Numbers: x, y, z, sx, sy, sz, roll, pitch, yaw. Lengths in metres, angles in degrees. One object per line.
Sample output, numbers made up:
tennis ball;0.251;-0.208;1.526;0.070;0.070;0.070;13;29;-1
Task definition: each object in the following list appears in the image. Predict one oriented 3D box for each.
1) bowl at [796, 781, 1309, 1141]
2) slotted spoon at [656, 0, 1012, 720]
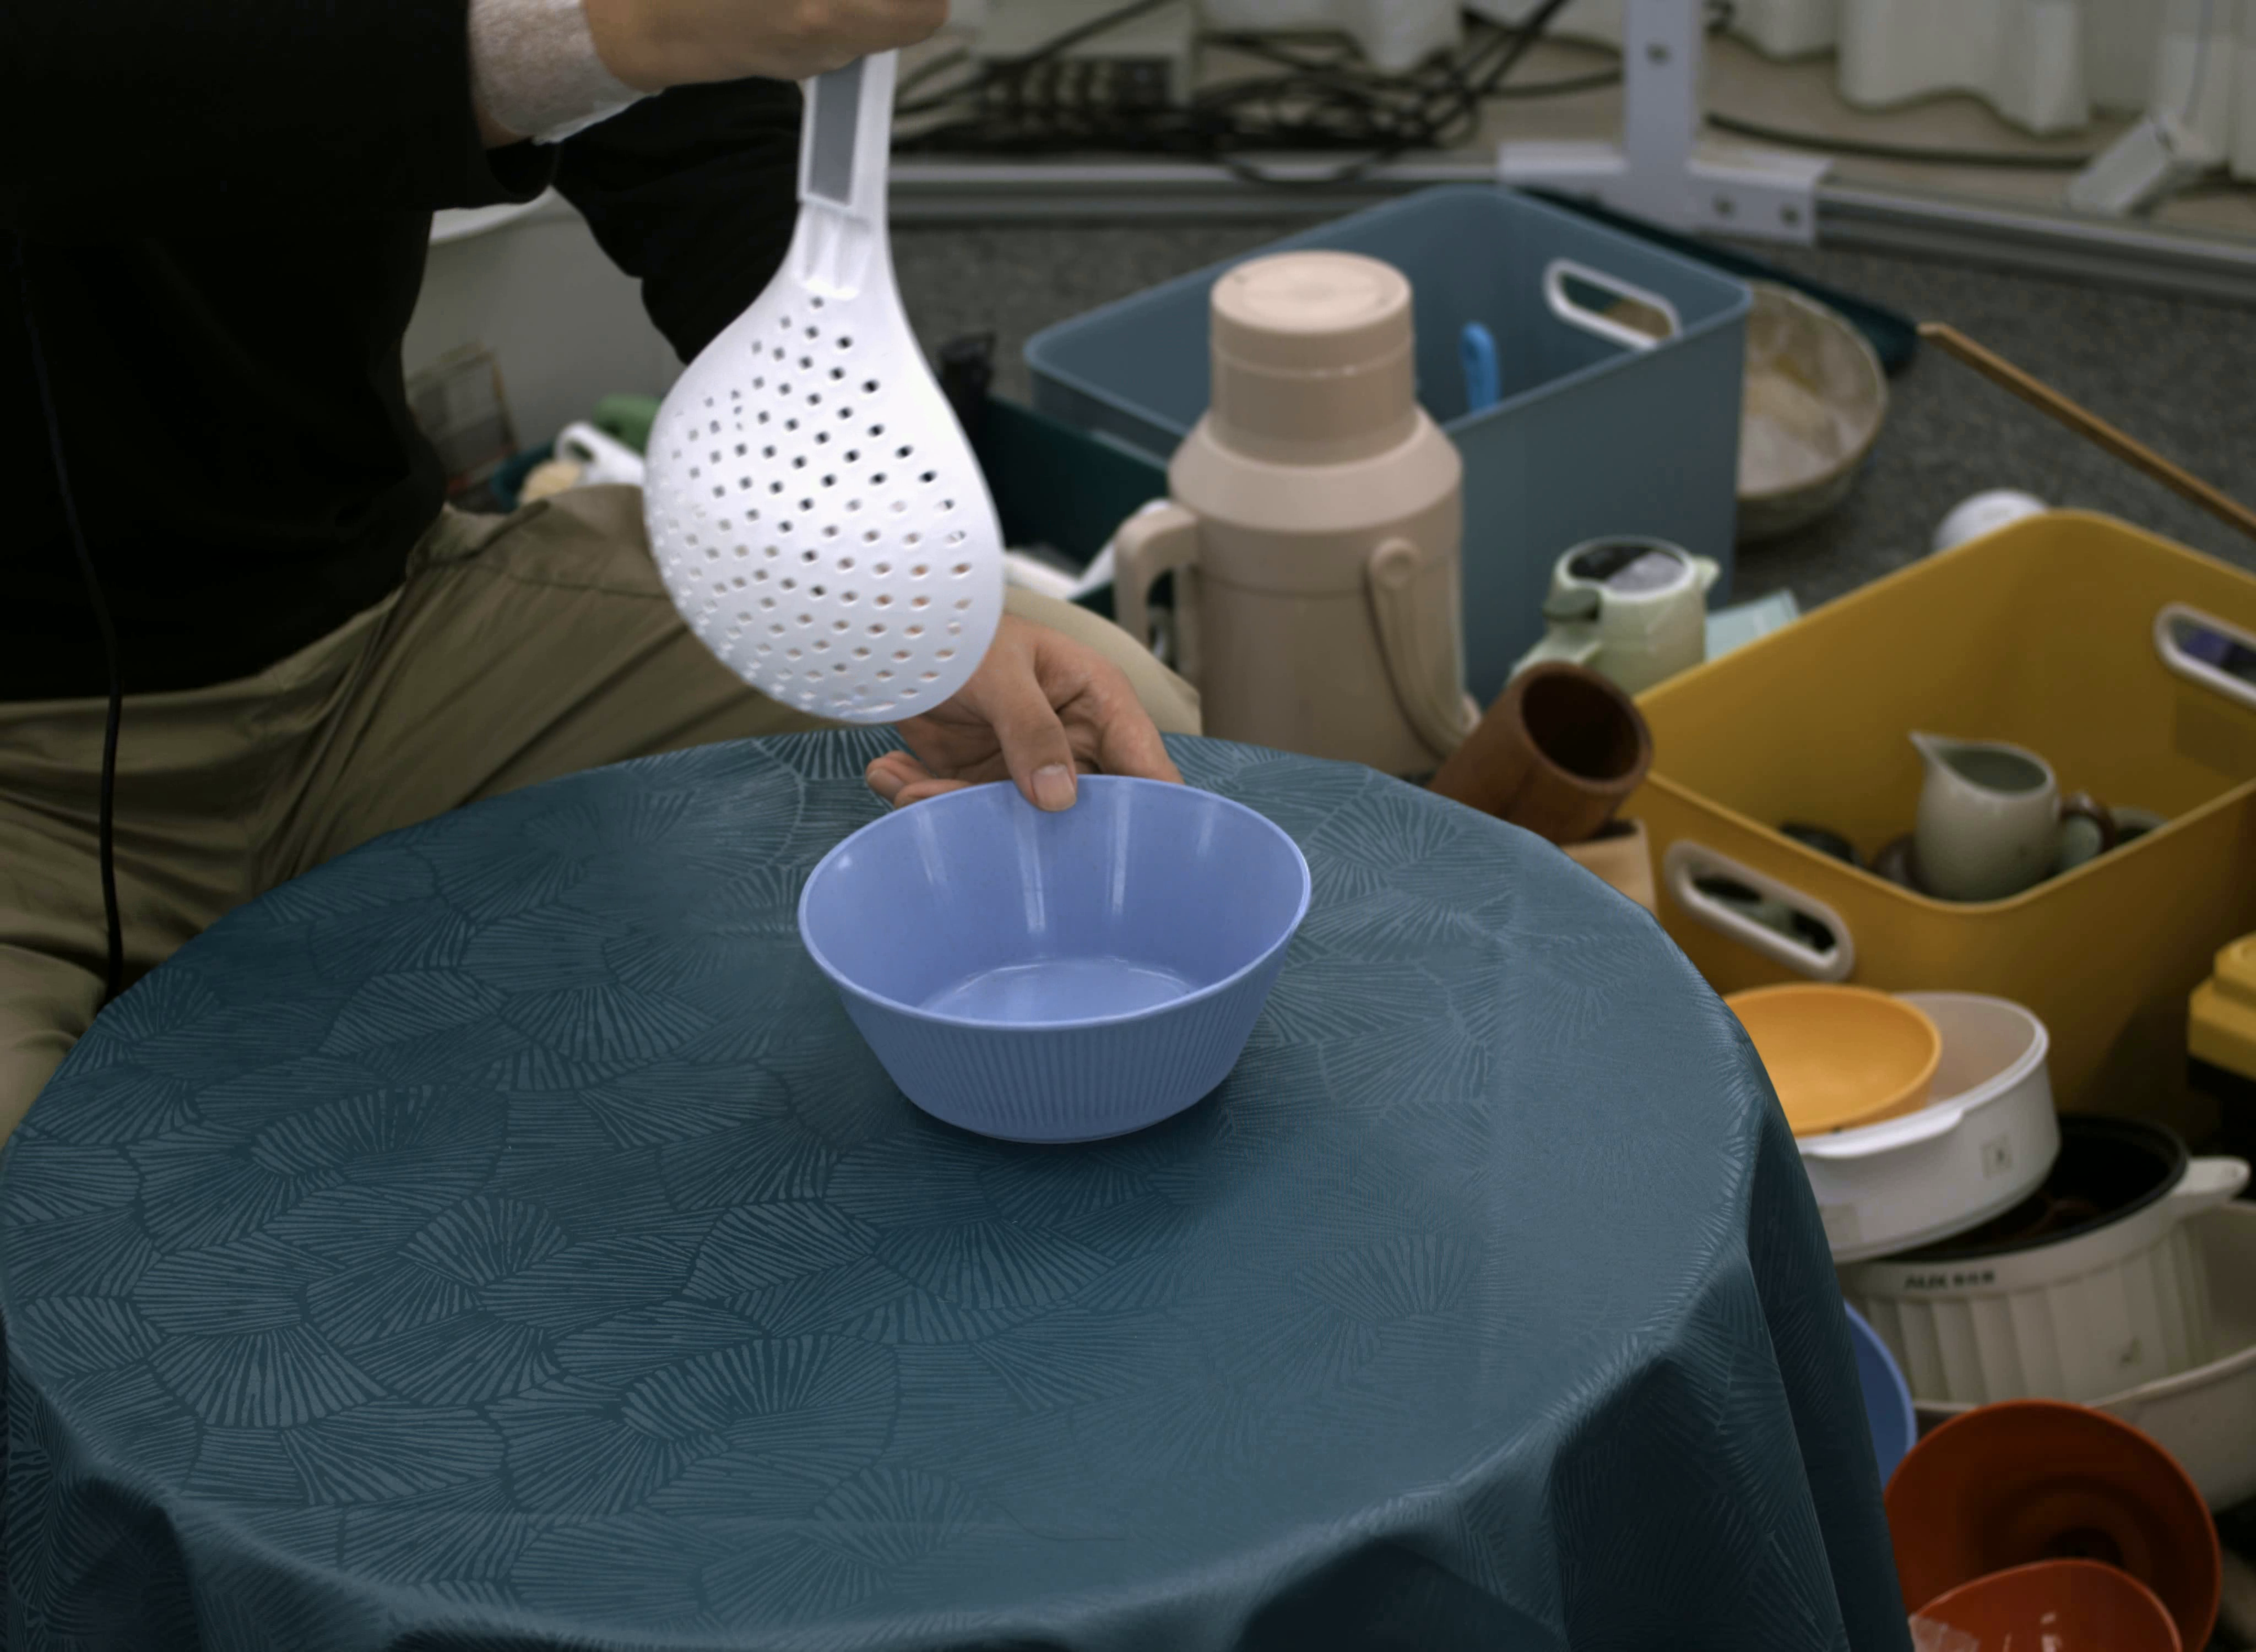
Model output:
bowl;-0.024;0.052;1.924;0.175;0.069;0.179;-3;26;2
slotted spoon;-0.090;-0.188;1.784;0.135;0.346;0.046;19;27;22
